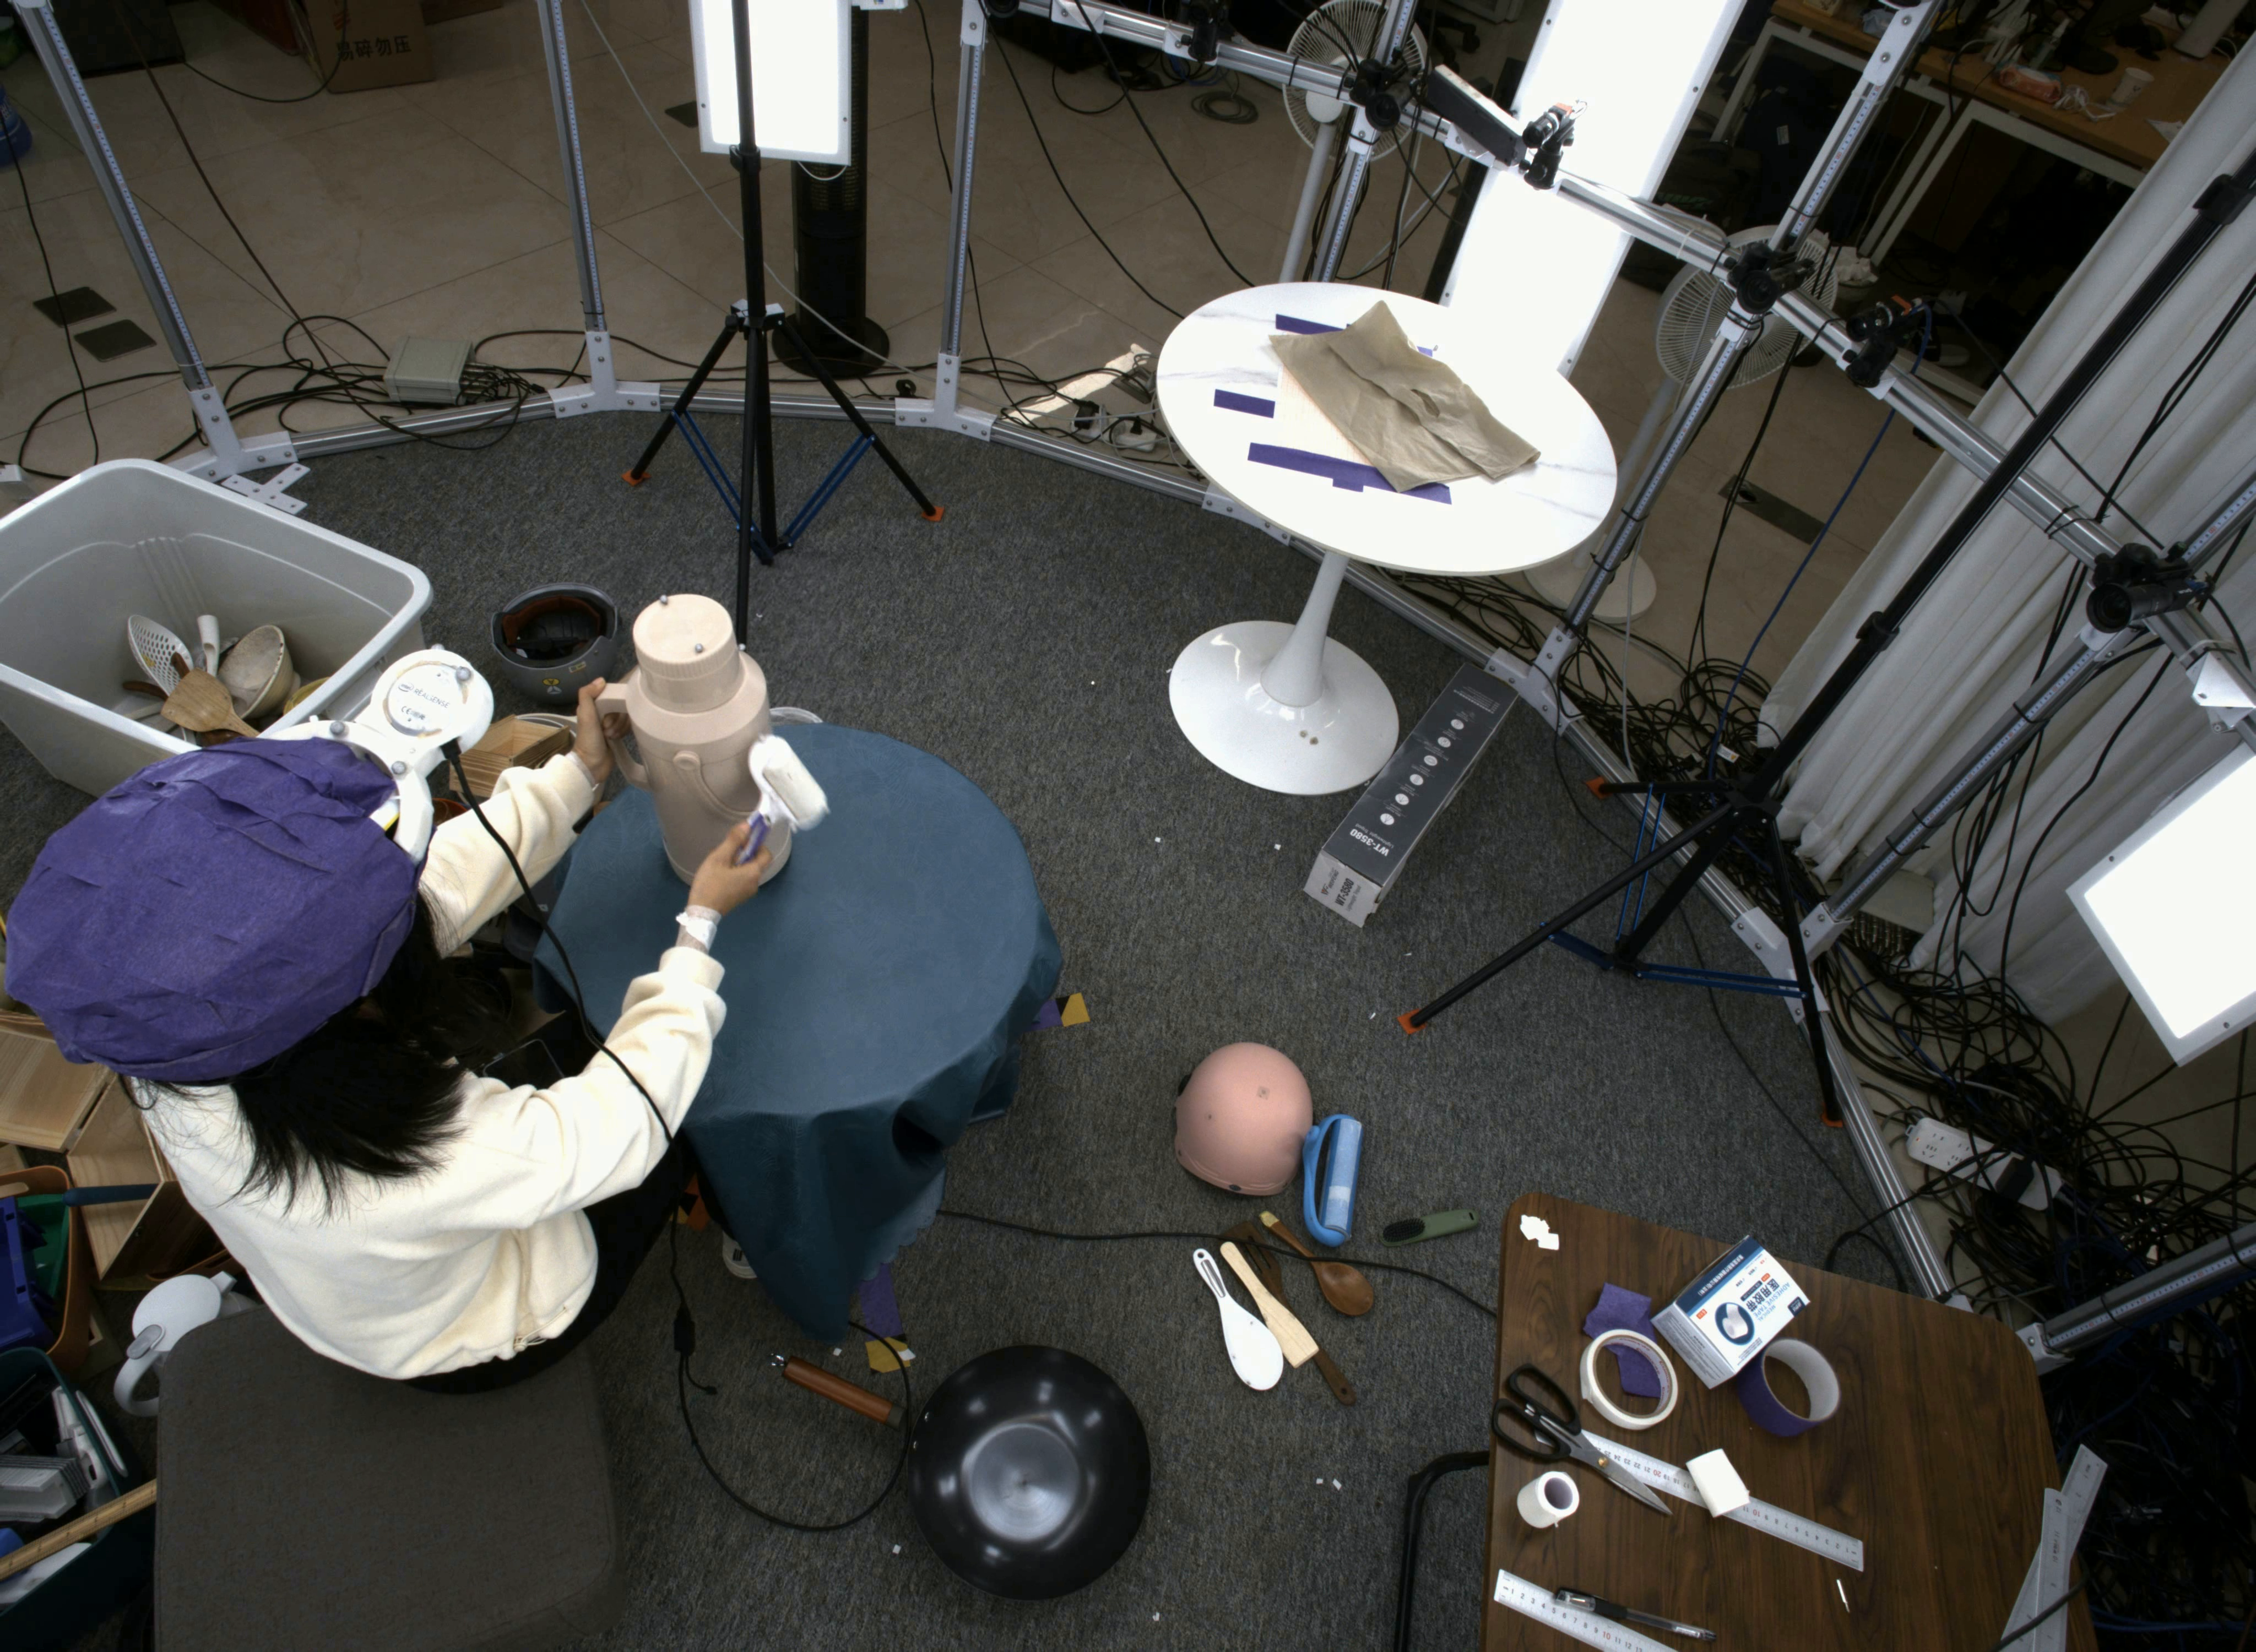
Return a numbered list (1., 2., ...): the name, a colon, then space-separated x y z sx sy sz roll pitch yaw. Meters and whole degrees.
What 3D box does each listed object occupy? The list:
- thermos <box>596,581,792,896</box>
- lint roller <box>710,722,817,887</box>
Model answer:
1. thermos: -0.511 -0.100 1.509 0.206 0.416 0.172 1 54 -6
2. lint roller: -0.413 -0.014 1.439 0.049 0.137 0.179 7 61 17
